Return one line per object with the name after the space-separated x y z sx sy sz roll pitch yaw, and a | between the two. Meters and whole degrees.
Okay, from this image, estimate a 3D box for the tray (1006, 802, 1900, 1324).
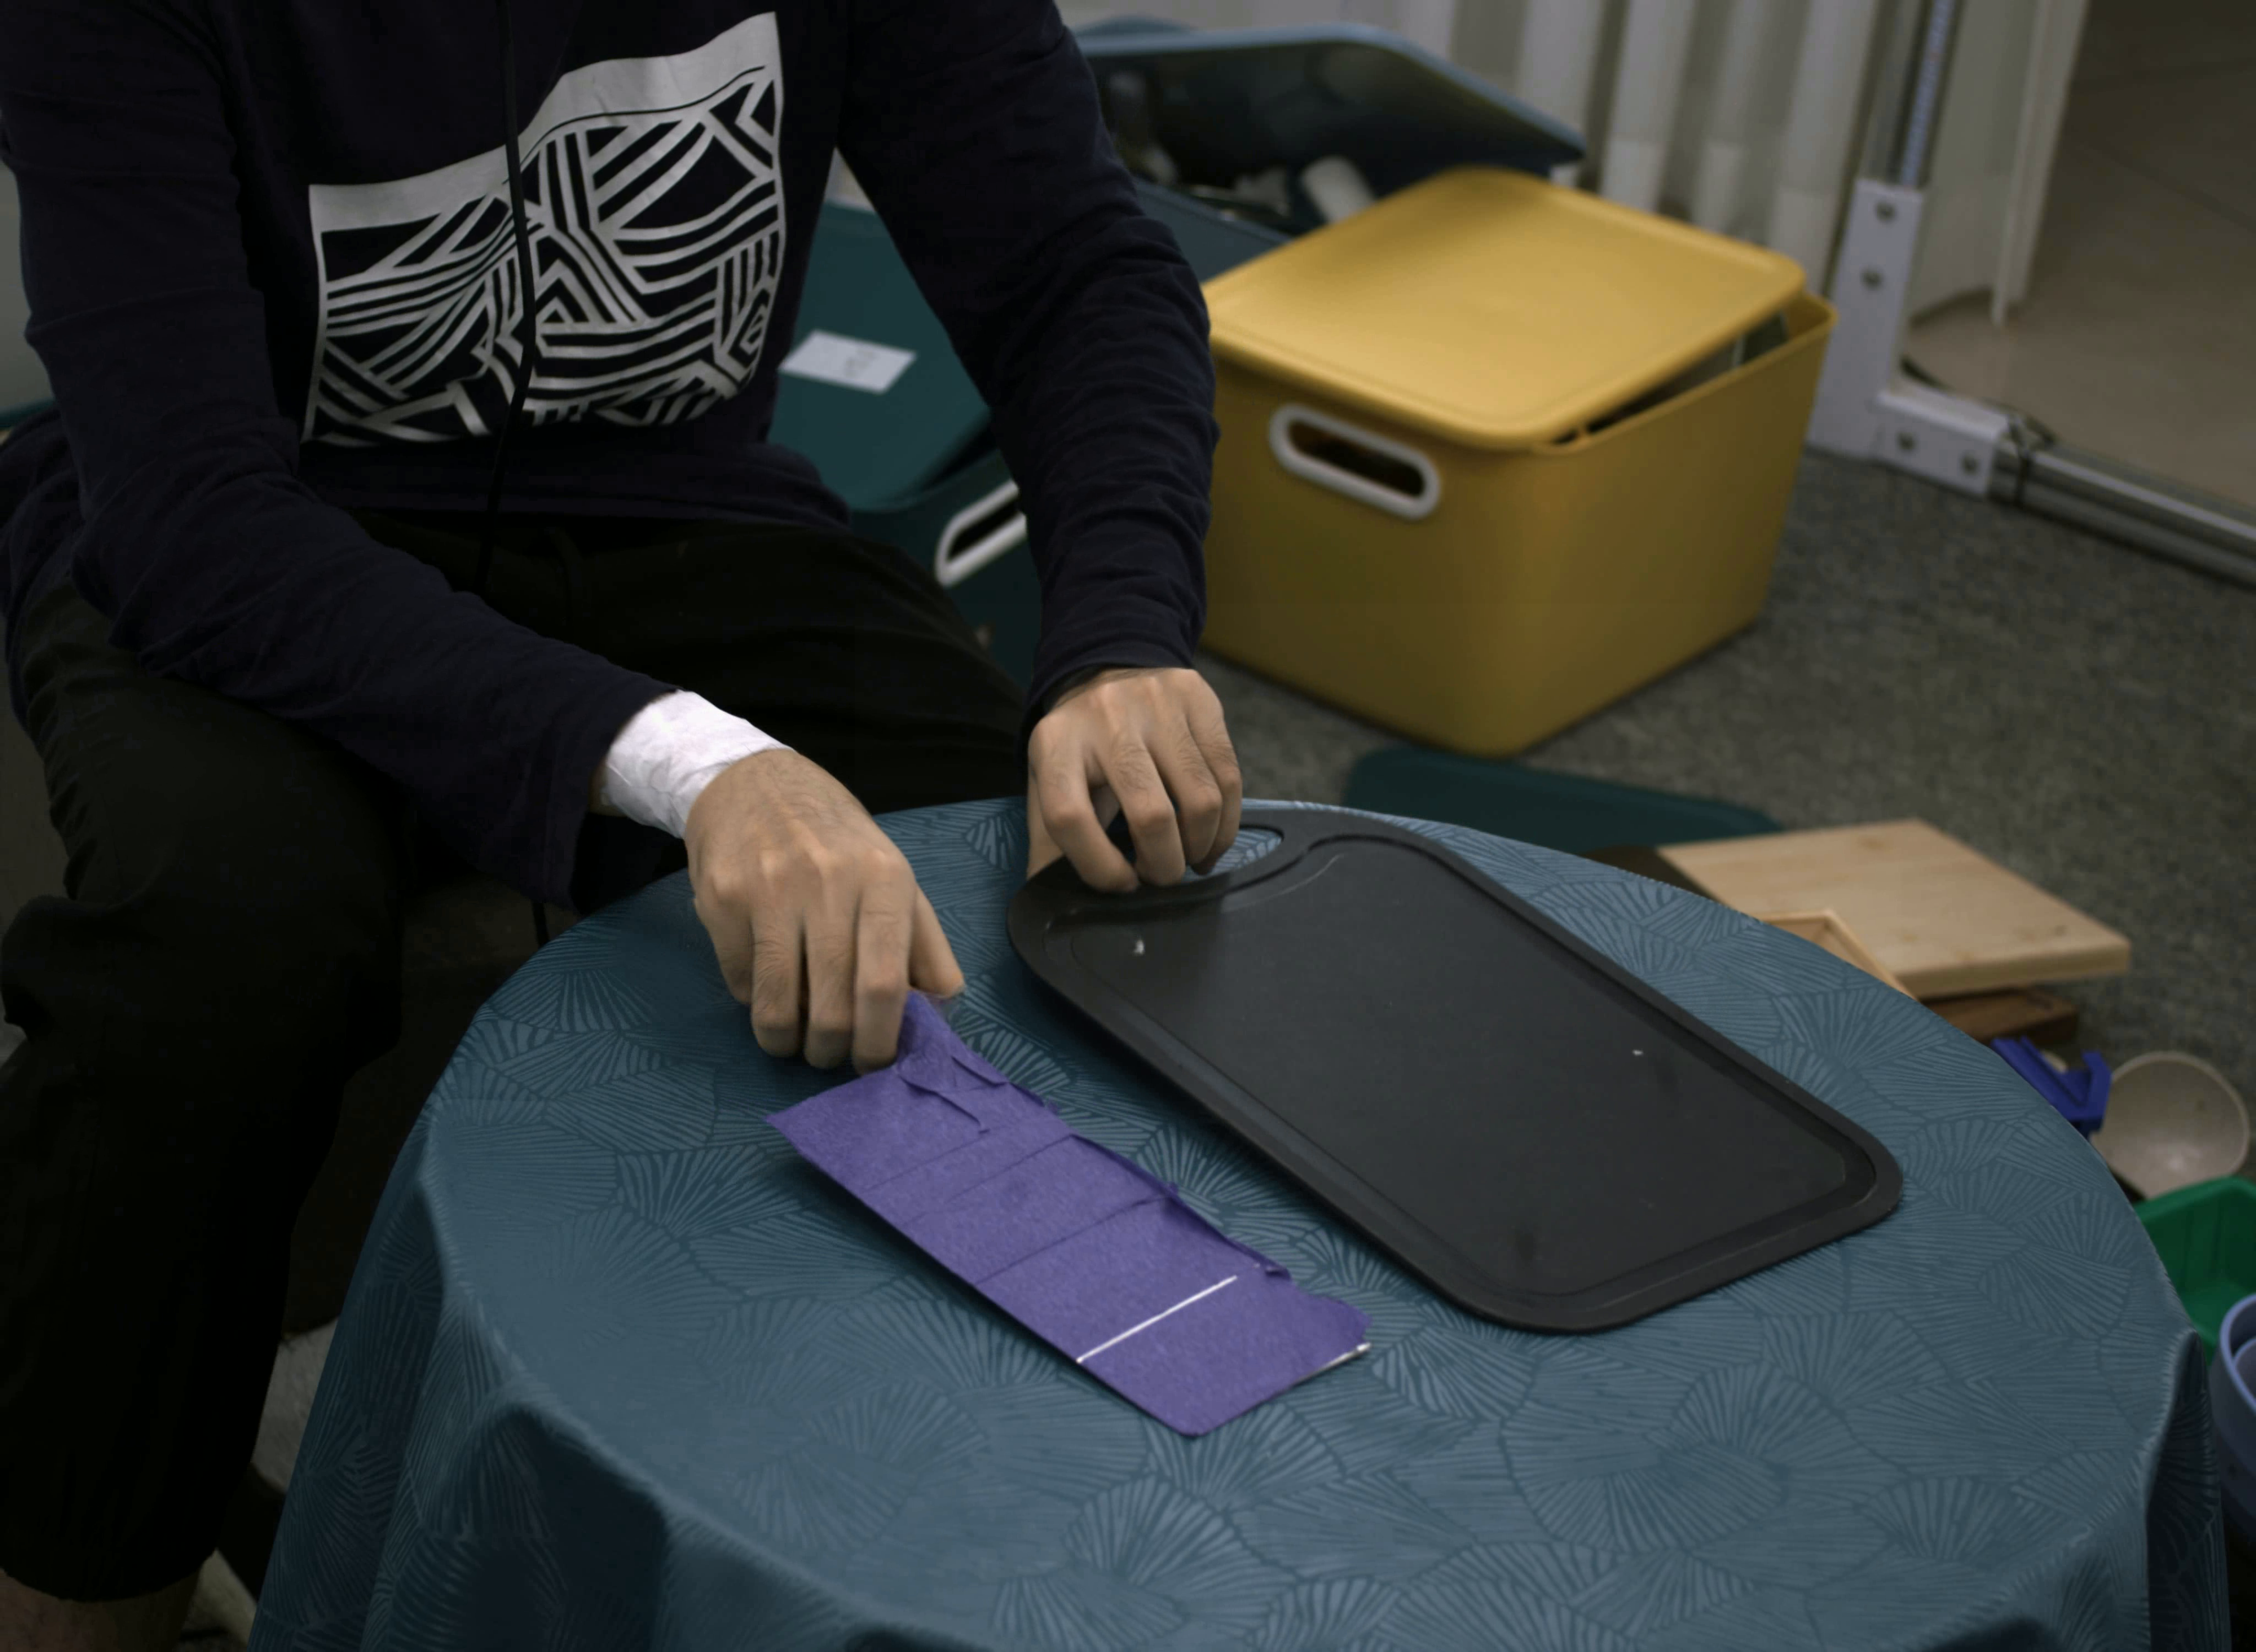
0.107 0.074 1.896 0.210 0.010 0.328 -15 38 -38 | tray

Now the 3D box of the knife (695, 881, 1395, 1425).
-0.055 0.106 1.787 0.103 0.032 0.317 -20 39 -41 | knife
